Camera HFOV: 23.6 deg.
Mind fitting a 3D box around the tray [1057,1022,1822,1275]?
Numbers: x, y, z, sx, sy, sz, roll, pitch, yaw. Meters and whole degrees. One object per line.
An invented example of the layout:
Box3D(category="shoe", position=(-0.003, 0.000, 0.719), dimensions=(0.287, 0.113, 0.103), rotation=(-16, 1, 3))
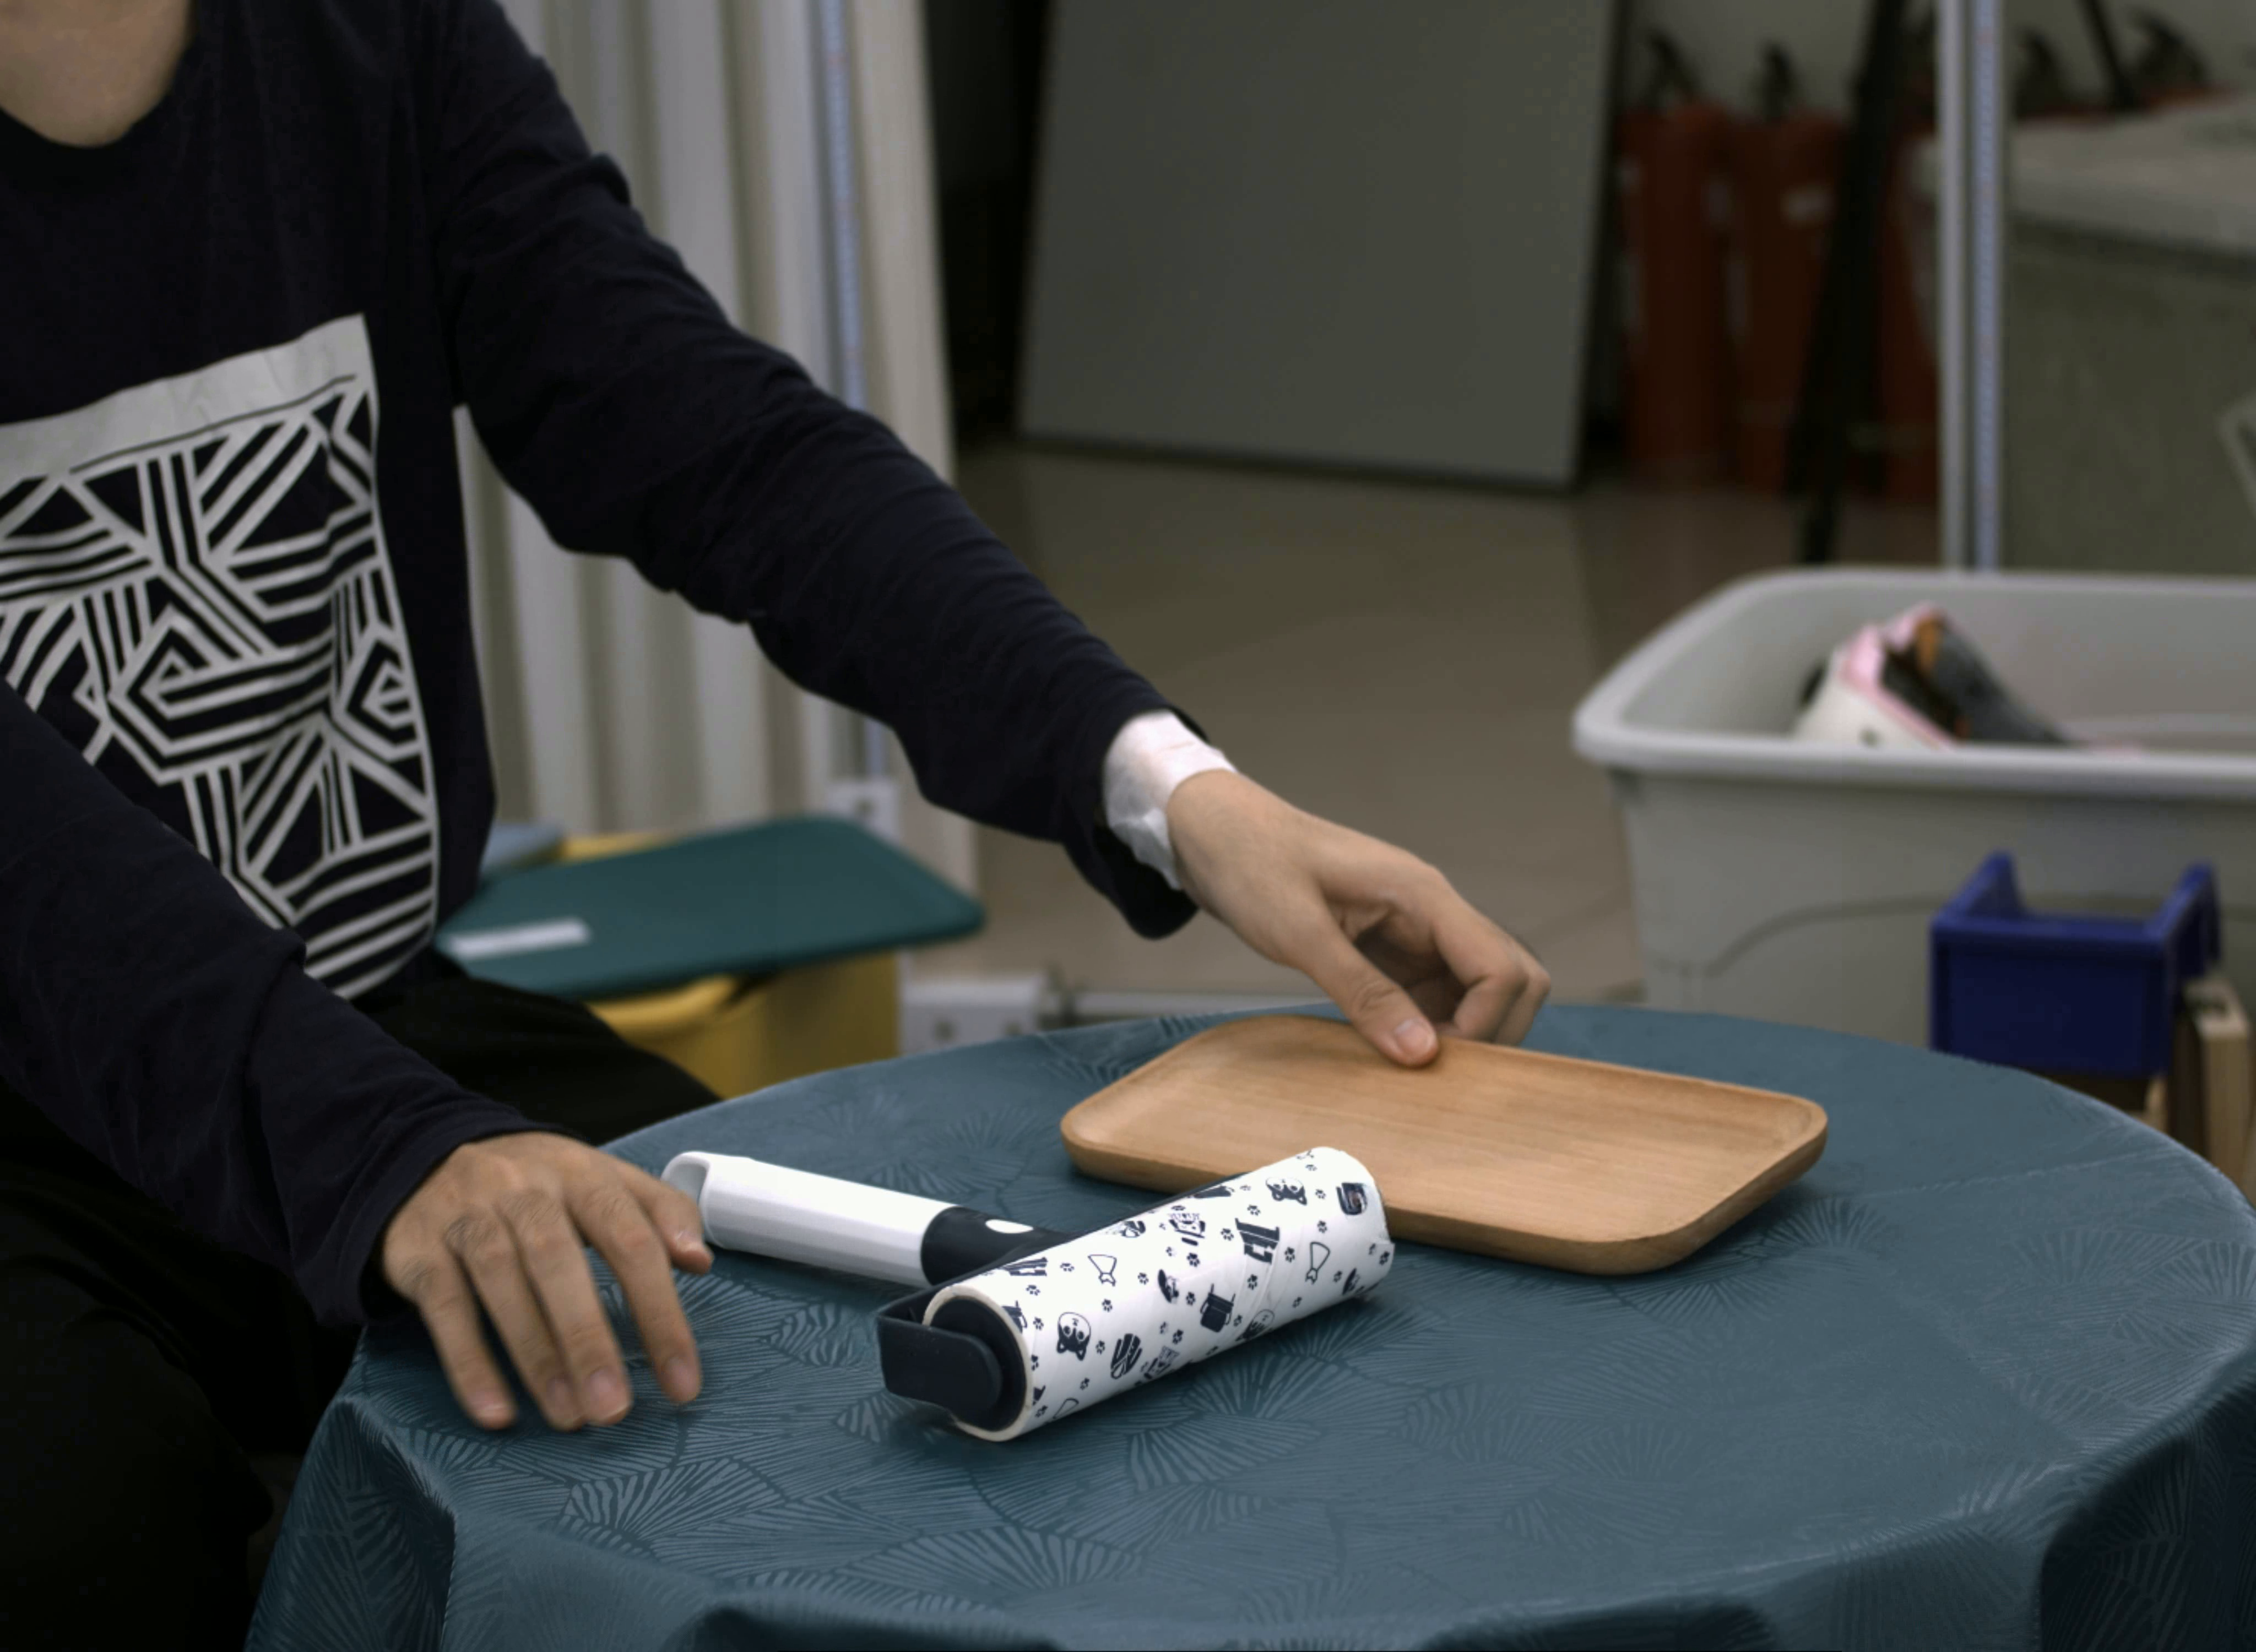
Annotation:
Box3D(category="tray", position=(0.100, 0.104, 1.762), dimensions=(0.253, 0.023, 0.128), rotation=(7, 20, 41))

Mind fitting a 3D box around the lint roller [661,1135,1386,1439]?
Box3D(category="lint roller", position=(-0.062, 0.131, 1.673), dimensions=(0.249, 0.051, 0.173), rotation=(5, 17, 45))
